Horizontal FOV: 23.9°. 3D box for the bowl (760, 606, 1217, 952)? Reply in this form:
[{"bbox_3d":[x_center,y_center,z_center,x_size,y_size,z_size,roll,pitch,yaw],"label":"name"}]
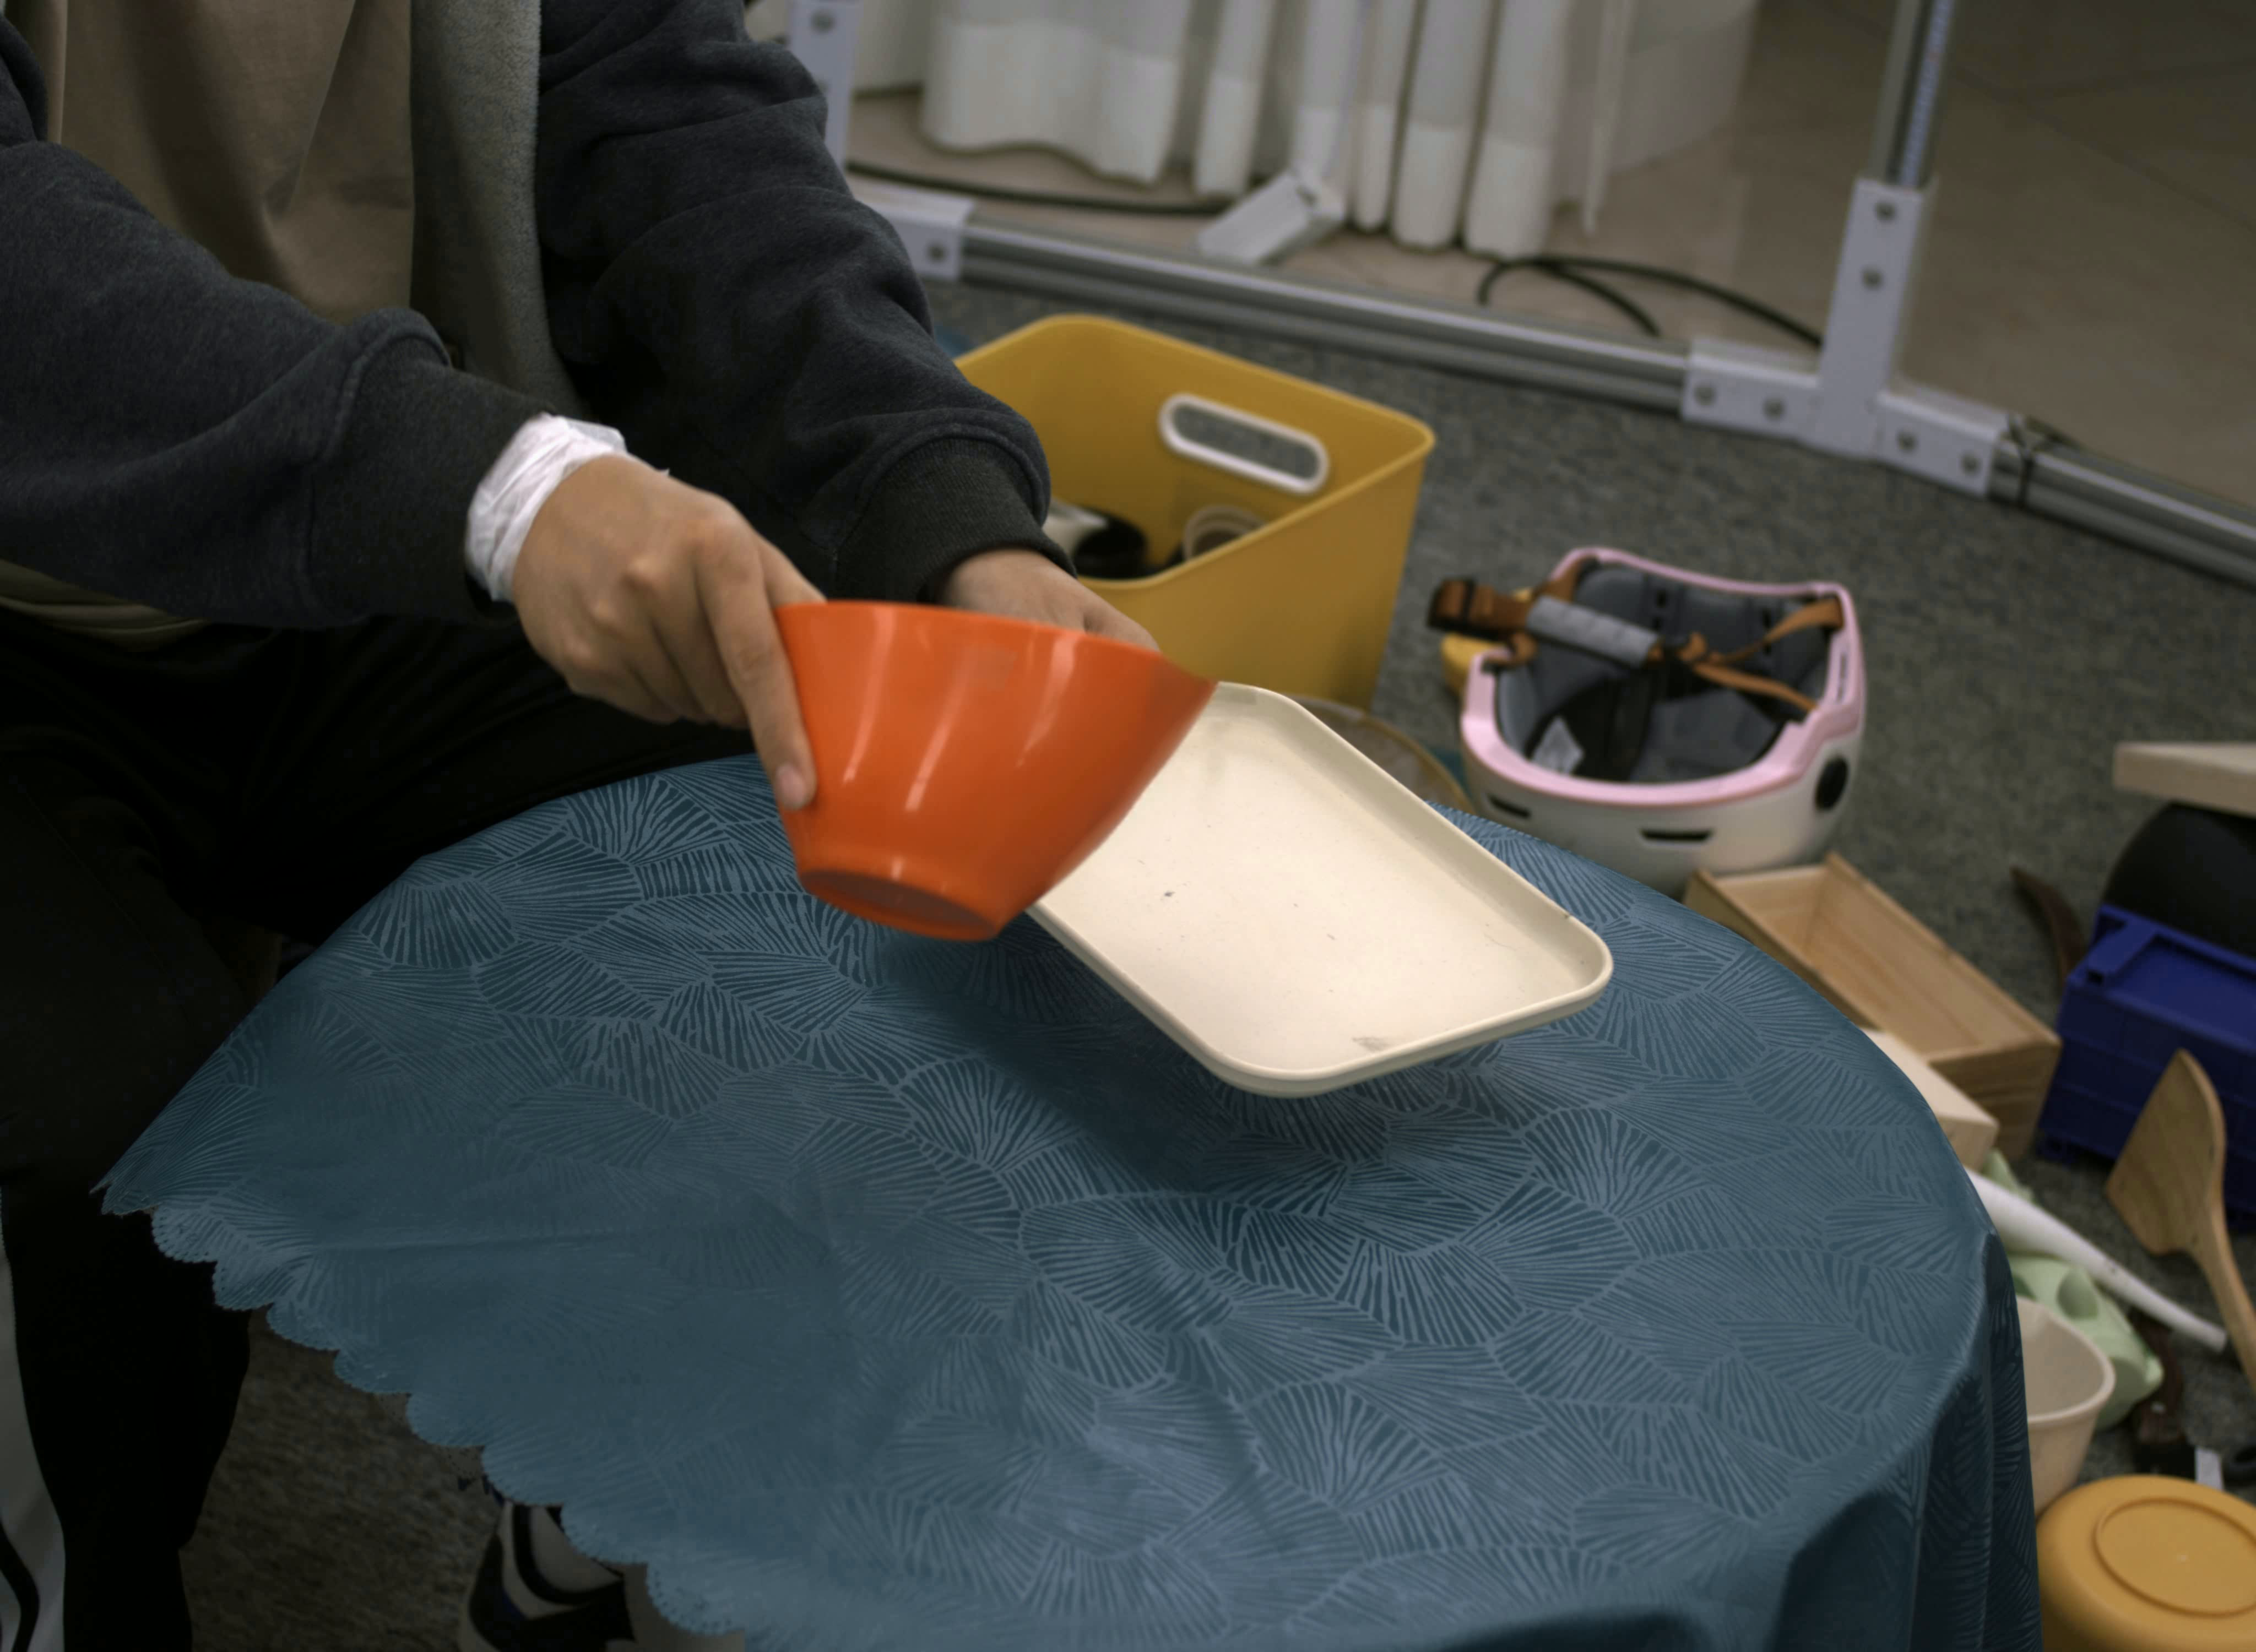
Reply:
[{"bbox_3d":[-0.055,-0.015,1.710,0.148,0.105,0.147,15,-14,3],"label":"bowl"}]

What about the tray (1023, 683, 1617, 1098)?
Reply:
[{"bbox_3d":[0.046,0.021,1.898,0.170,0.017,0.242,-15,36,-31],"label":"tray"}]
